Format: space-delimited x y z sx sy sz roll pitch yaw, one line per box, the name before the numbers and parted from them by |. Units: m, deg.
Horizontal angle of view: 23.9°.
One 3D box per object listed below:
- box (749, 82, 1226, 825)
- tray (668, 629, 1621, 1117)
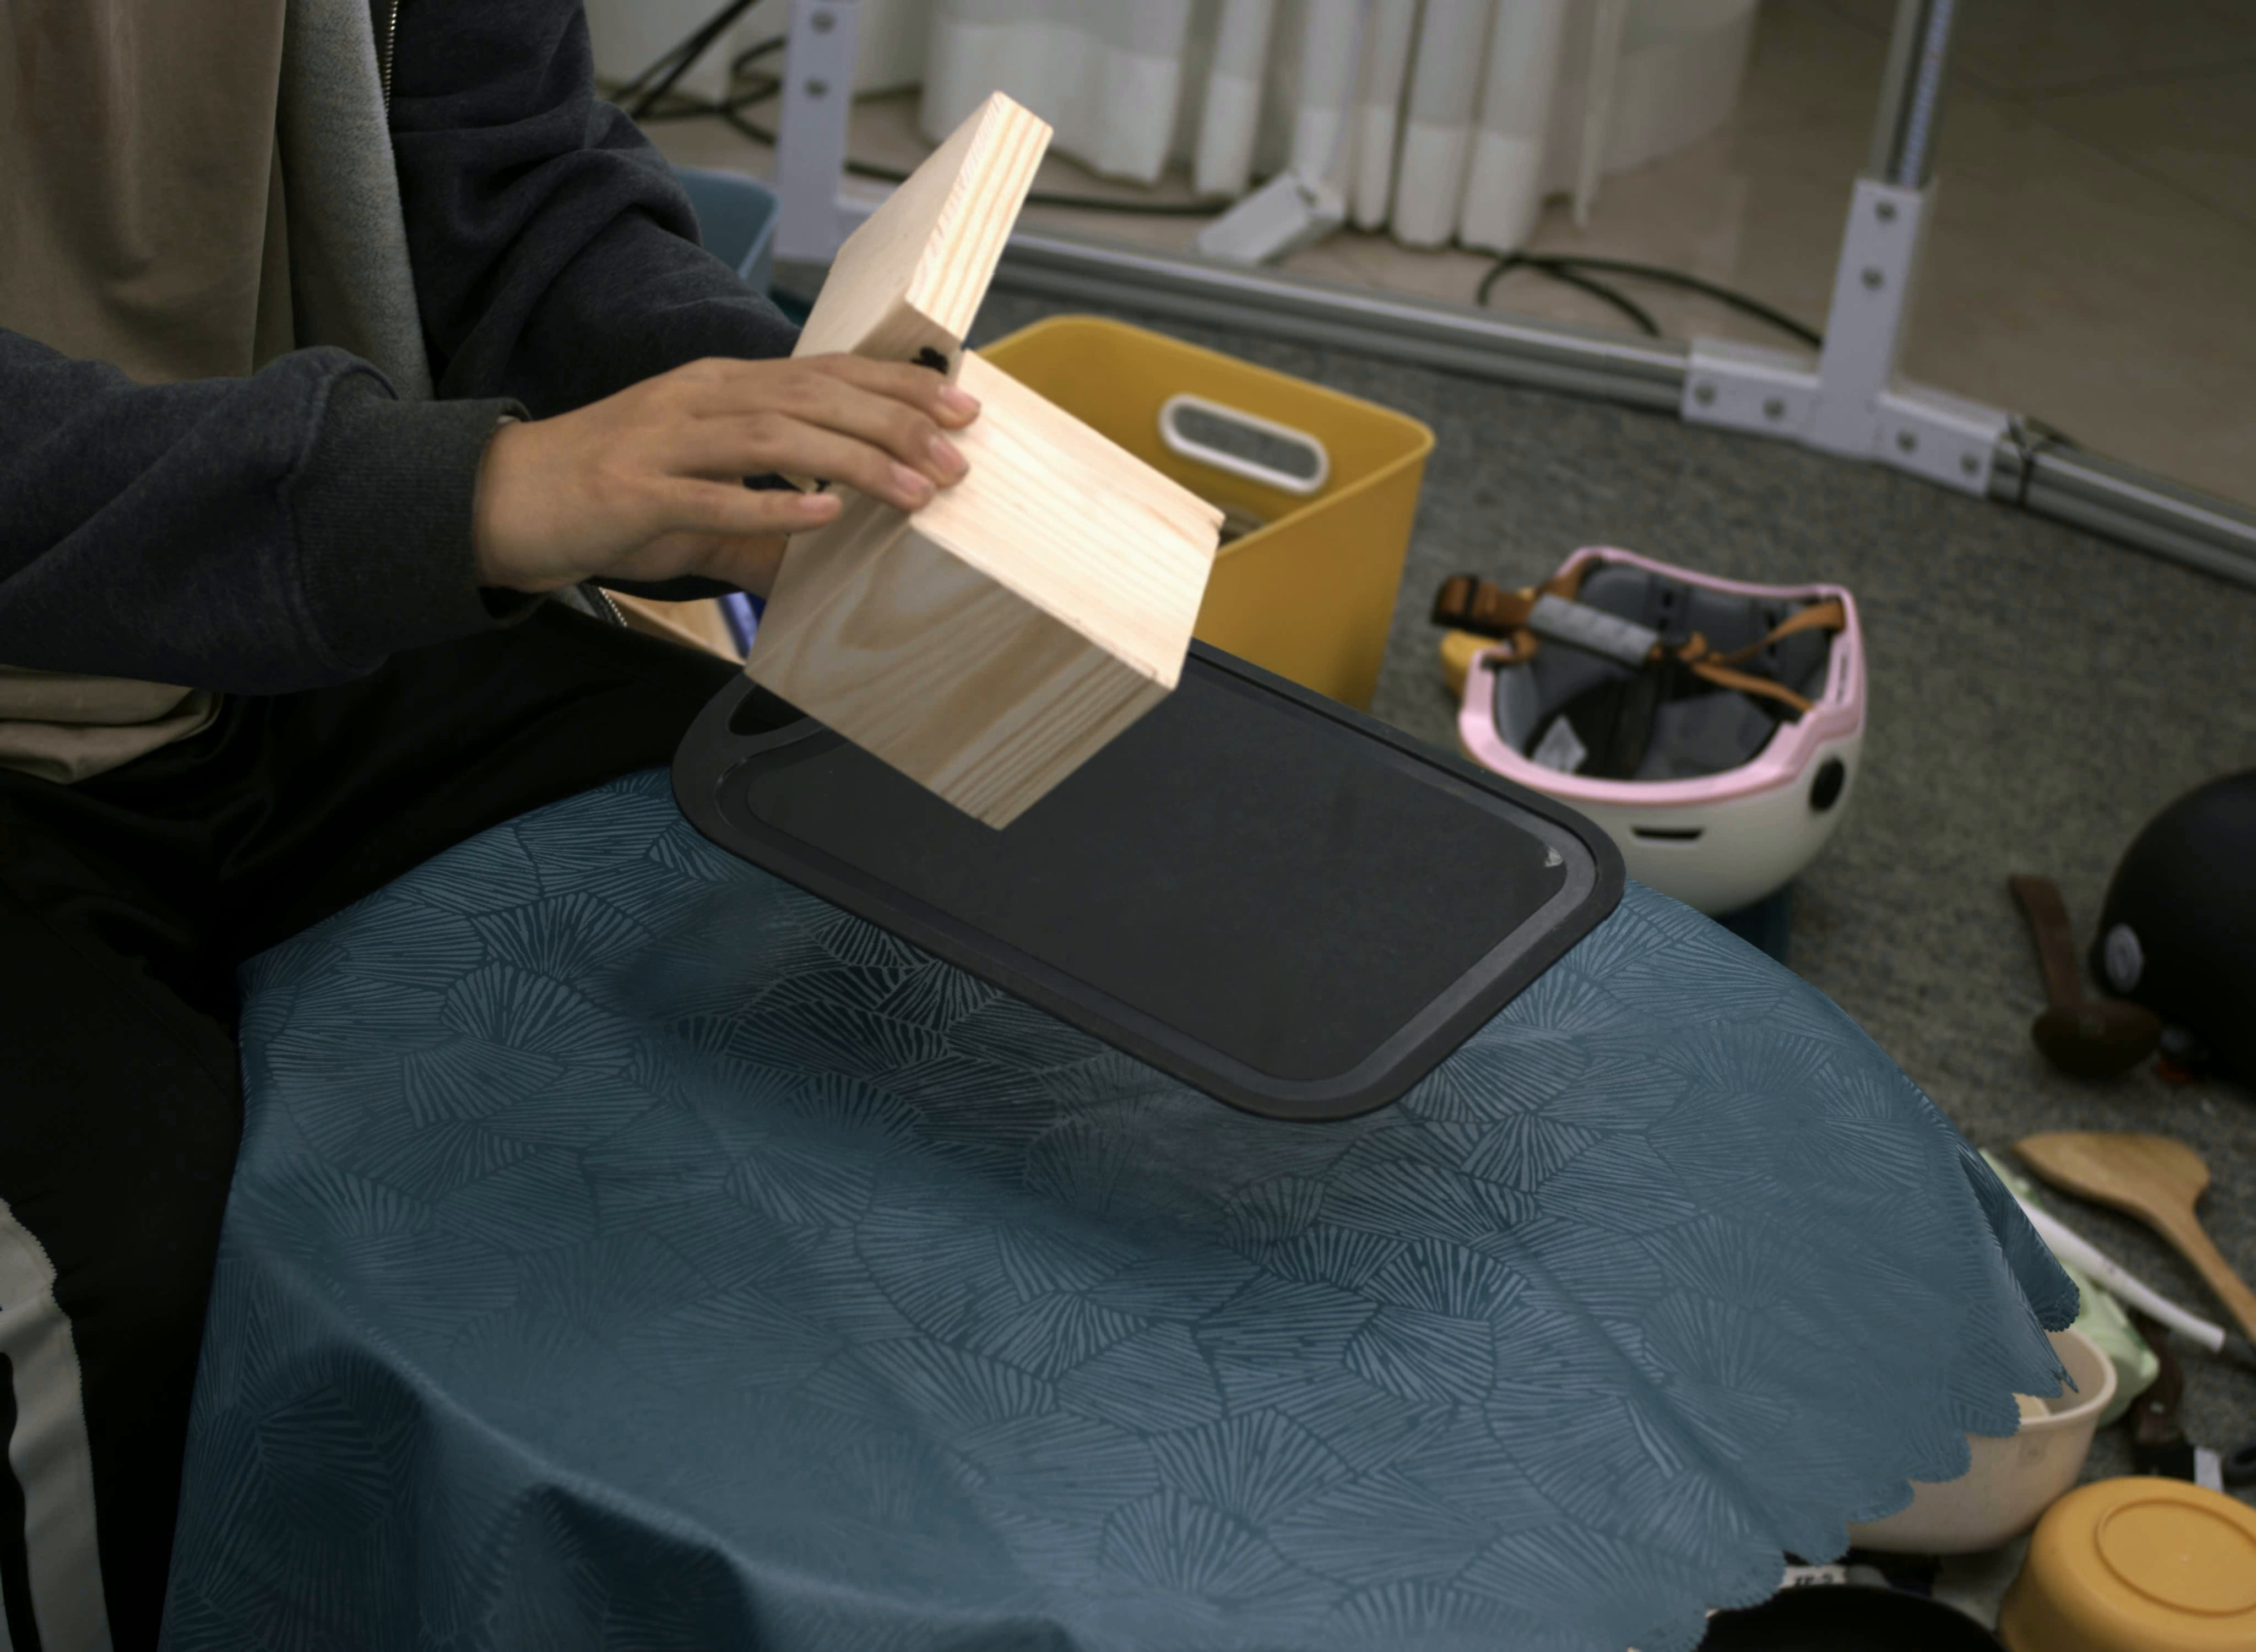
box | -0.040 -0.119 1.704 0.133 0.102 0.185 31 50 -18
tray | -0.003 -0.004 1.865 0.327 0.010 0.211 26 43 29
